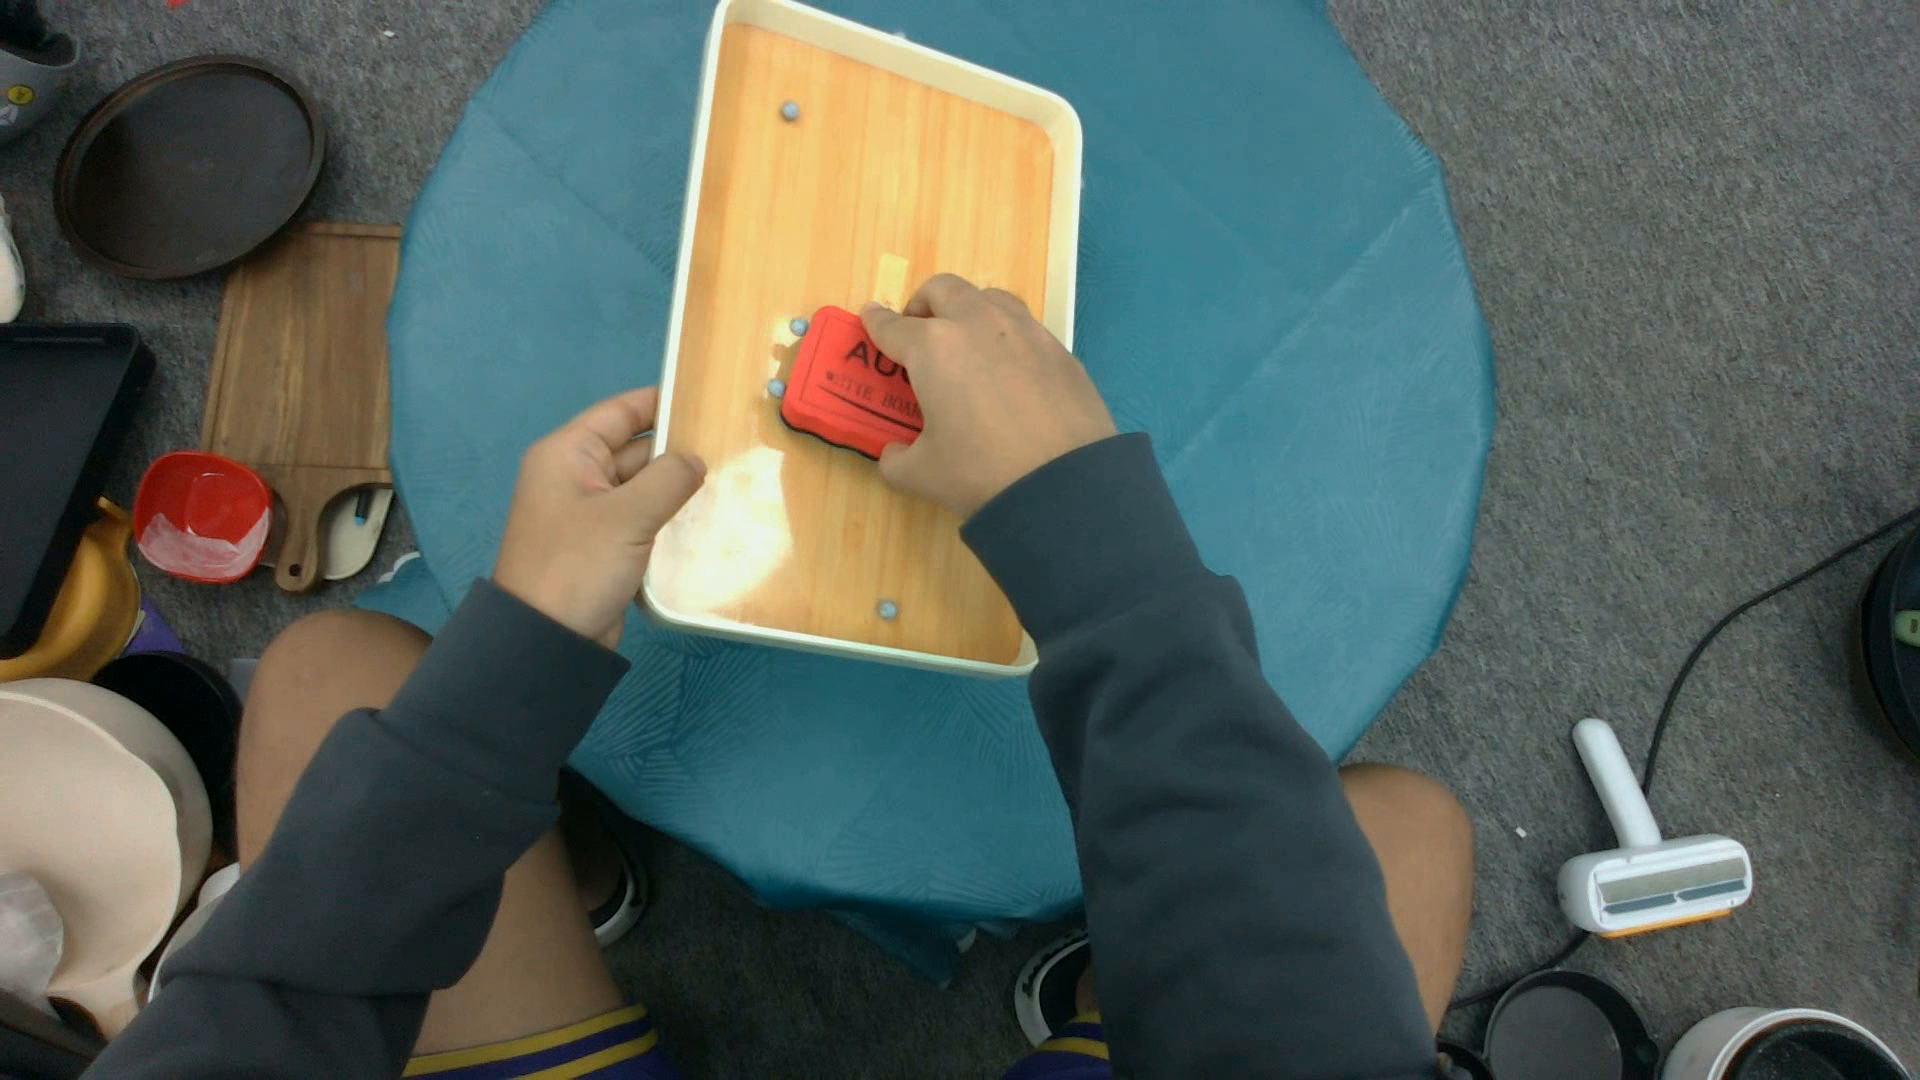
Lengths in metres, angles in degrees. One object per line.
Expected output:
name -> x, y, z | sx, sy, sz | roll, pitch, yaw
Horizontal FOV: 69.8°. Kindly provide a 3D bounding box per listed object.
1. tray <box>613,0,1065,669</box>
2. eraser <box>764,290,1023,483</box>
tray -> -0.046, -0.099, 0.638 | 0.192, 0.027, 0.301 | 11, 73, -23
eraser -> -0.029, -0.068, 0.617 | 0.108, 0.023, 0.059 | 19, 76, -13
